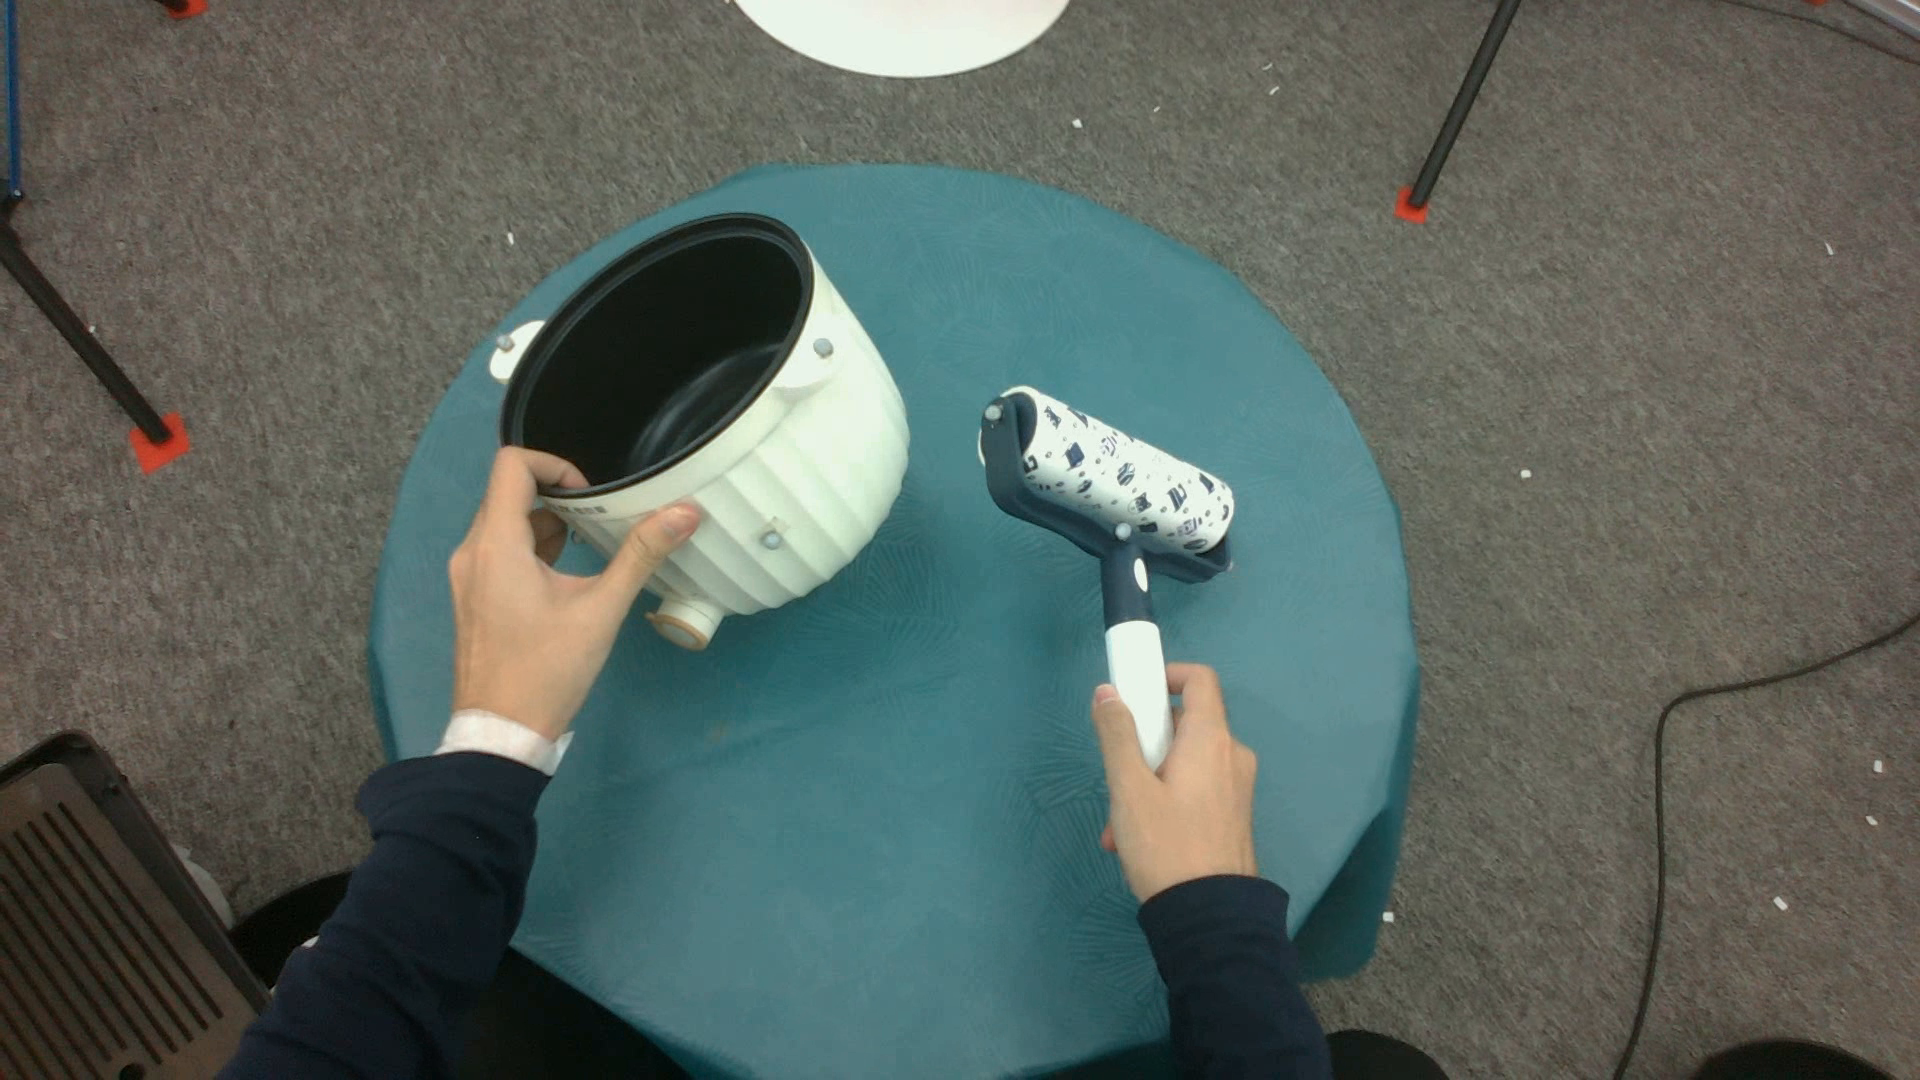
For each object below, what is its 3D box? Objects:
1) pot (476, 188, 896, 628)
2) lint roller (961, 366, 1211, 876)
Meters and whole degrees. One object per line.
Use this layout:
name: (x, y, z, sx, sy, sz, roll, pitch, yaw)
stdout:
pot: (-0.130, -0.064, 0.708, 0.240, 0.142, 0.191, 5, 55, 35)
lint roller: (0.082, 0.043, 0.698, 0.176, 0.050, 0.248, 19, 54, -43)
